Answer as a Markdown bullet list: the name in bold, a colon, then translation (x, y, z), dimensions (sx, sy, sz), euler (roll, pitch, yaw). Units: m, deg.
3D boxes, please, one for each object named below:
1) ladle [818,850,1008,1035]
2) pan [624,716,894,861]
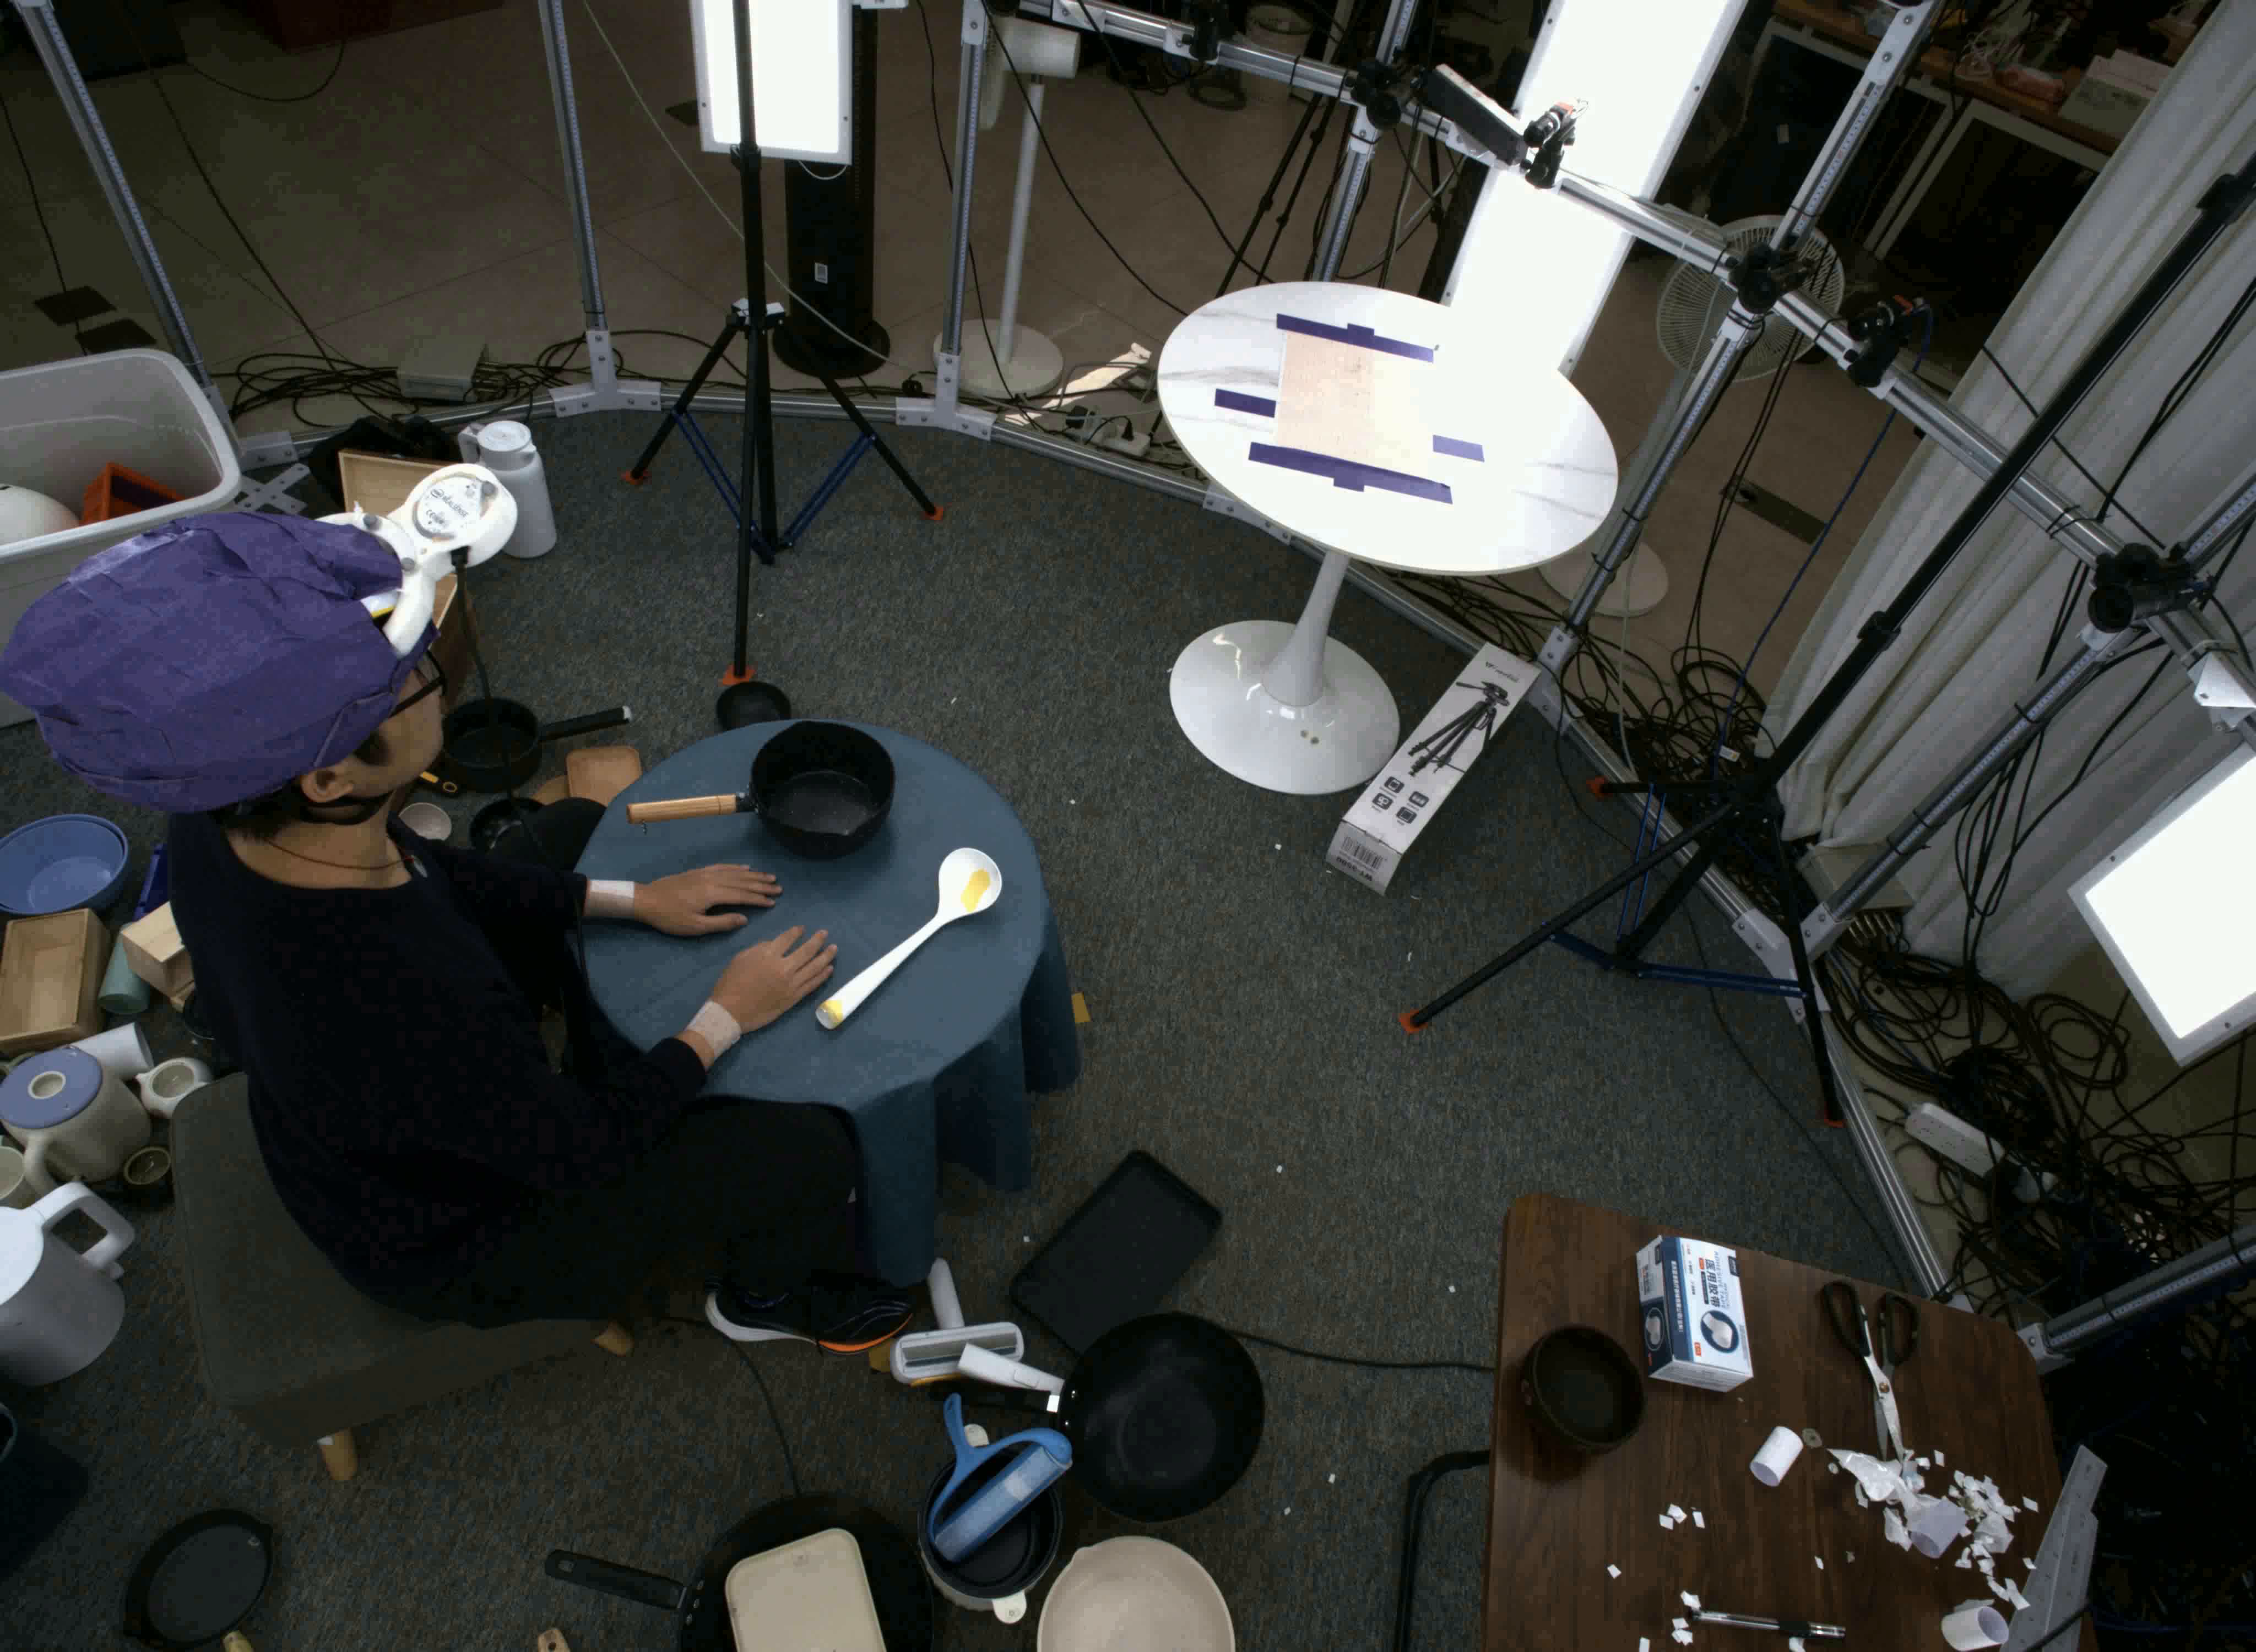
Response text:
- **ladle**: translation (-0.267, 0.142, 1.608), dimensions (0.089, 0.071, 0.293), euler (40, 55, 10)
- **pan**: translation (-0.468, -0.028, 1.654), dimensions (0.345, 0.110, 0.202), euler (-16, 60, -27)
